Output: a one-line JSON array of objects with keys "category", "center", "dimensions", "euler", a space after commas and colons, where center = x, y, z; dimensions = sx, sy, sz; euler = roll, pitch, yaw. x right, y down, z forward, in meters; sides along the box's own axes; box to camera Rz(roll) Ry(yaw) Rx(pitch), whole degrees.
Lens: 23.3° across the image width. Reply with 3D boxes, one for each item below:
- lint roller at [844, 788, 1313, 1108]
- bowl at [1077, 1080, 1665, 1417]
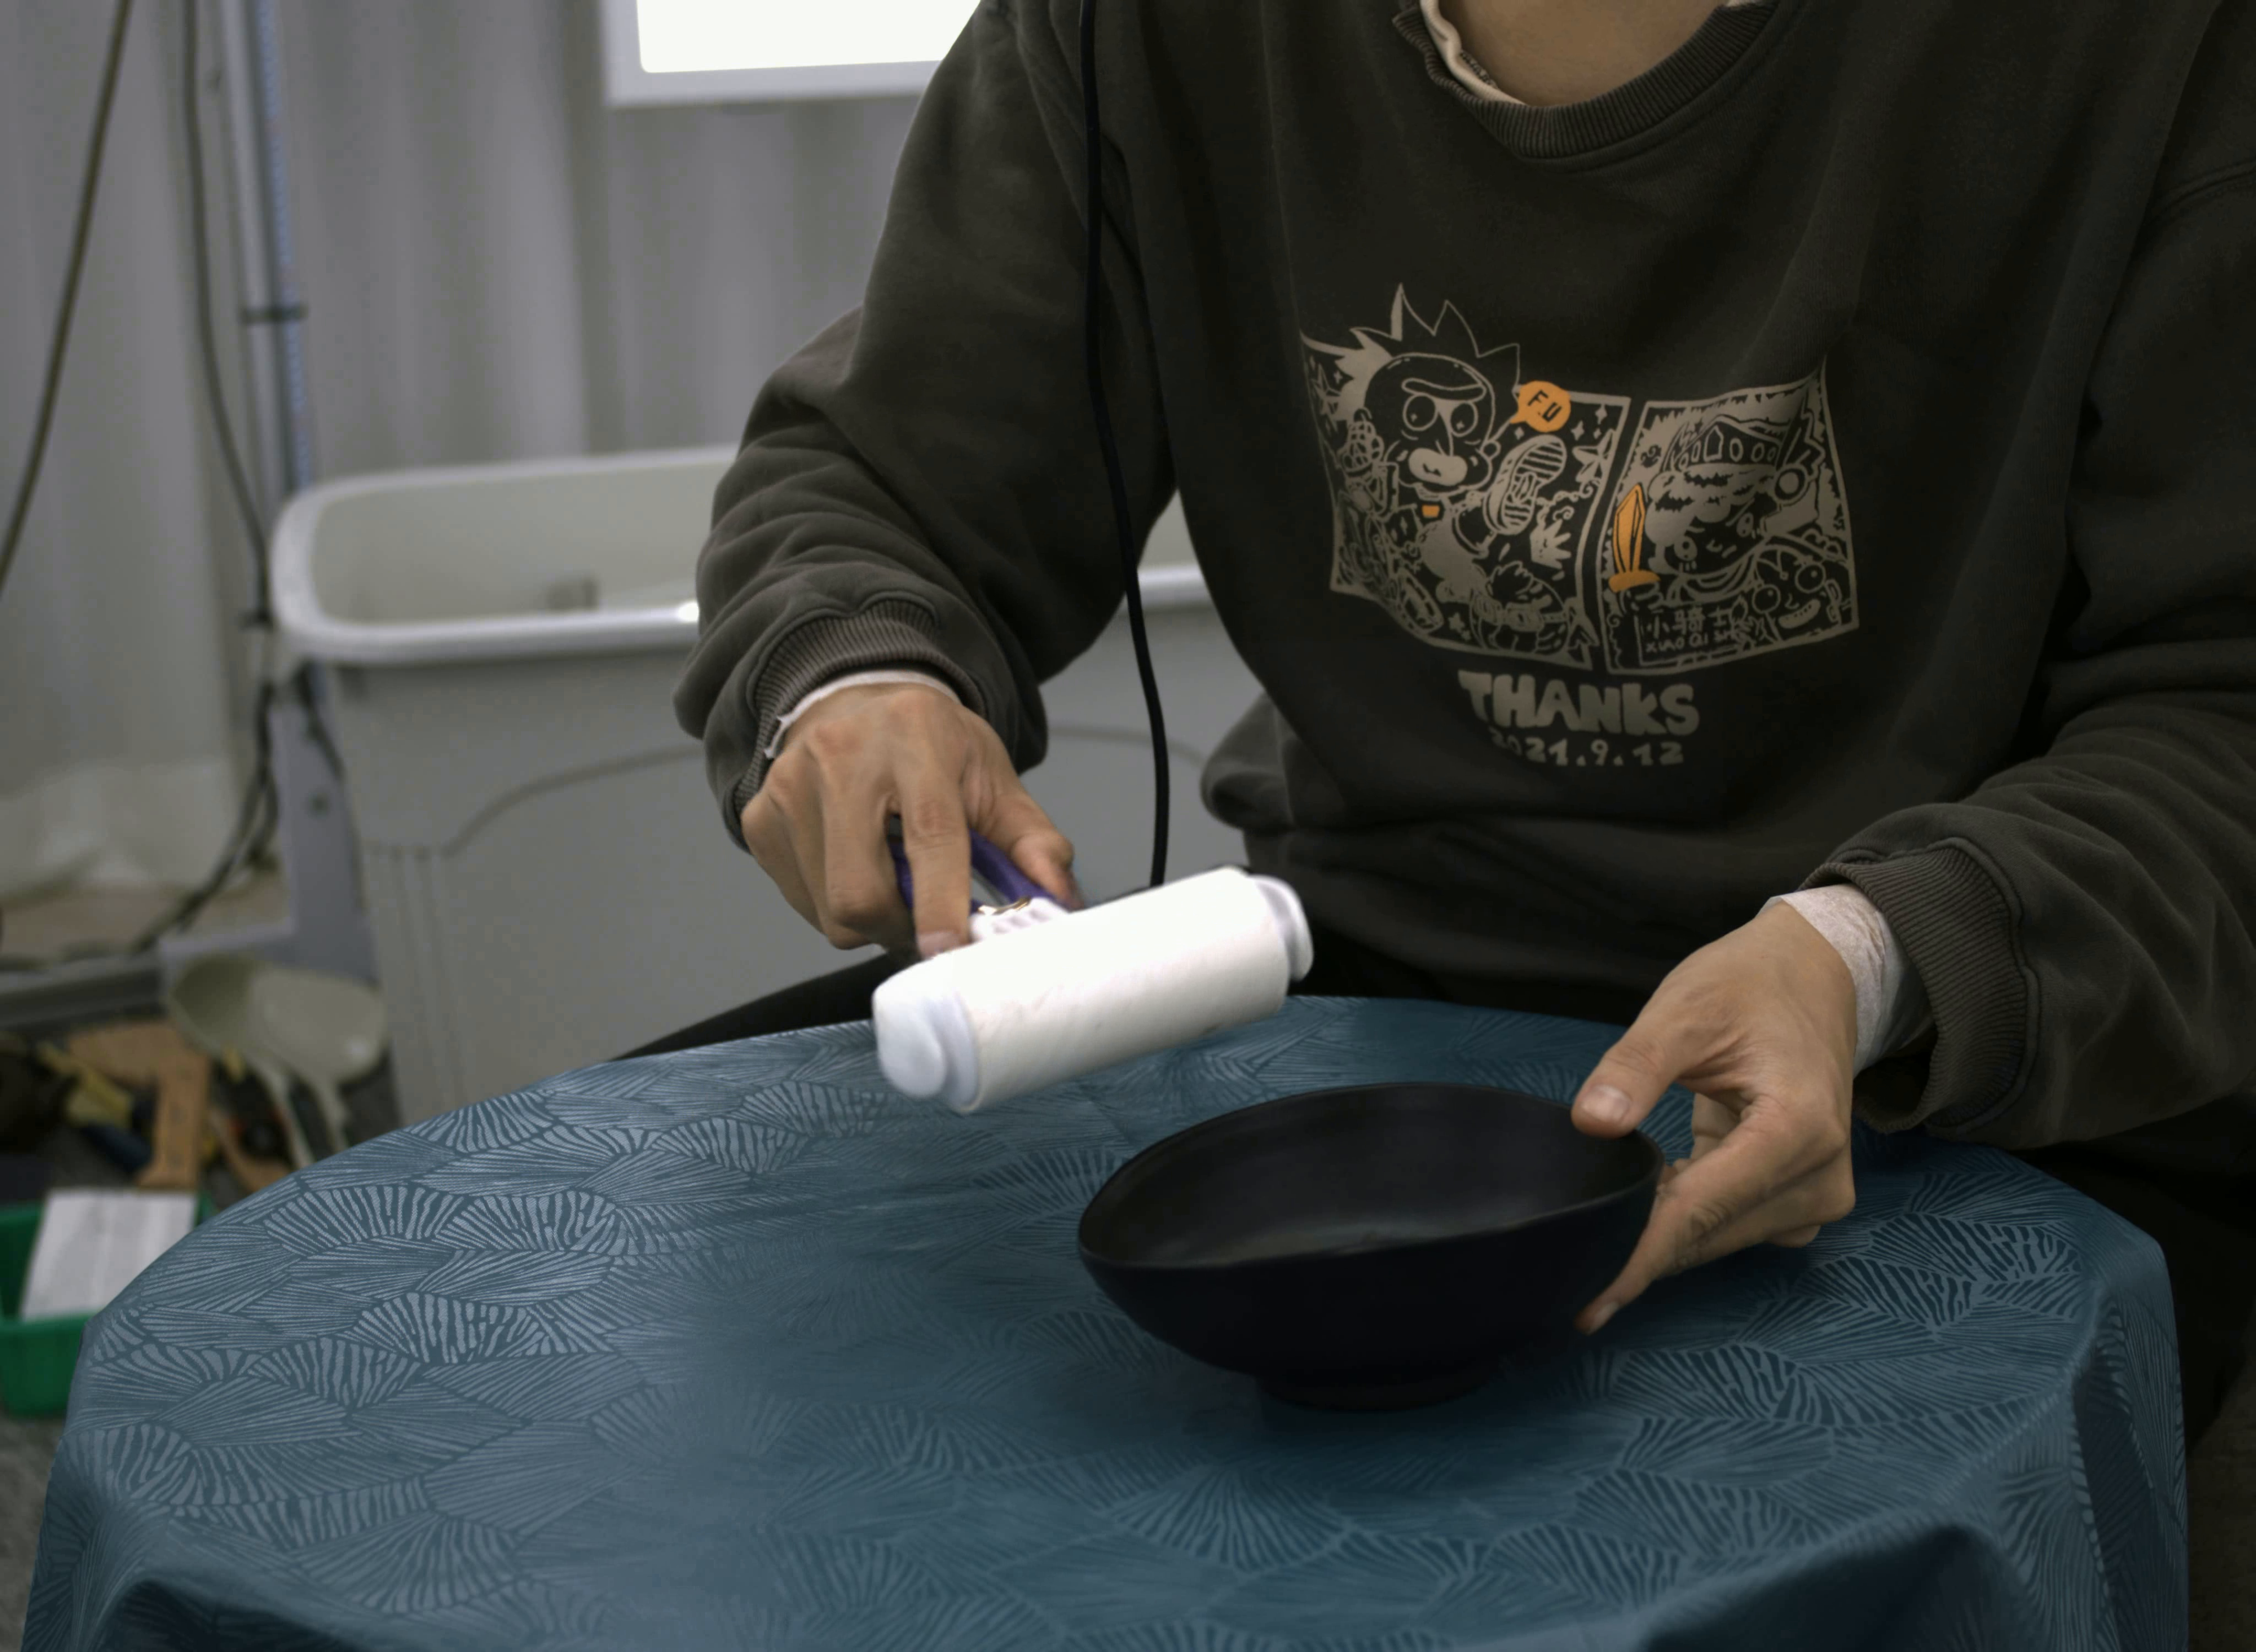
[{"category": "lint roller", "center": [-0.037, 0.016, 1.630], "dimensions": [0.132, 0.049, 0.183], "euler": [-16, 34, -22]}, {"category": "bowl", "center": [0.071, 0.126, 1.547], "dimensions": [0.169, 0.066, 0.138], "euler": [-9, 15, -15]}]
